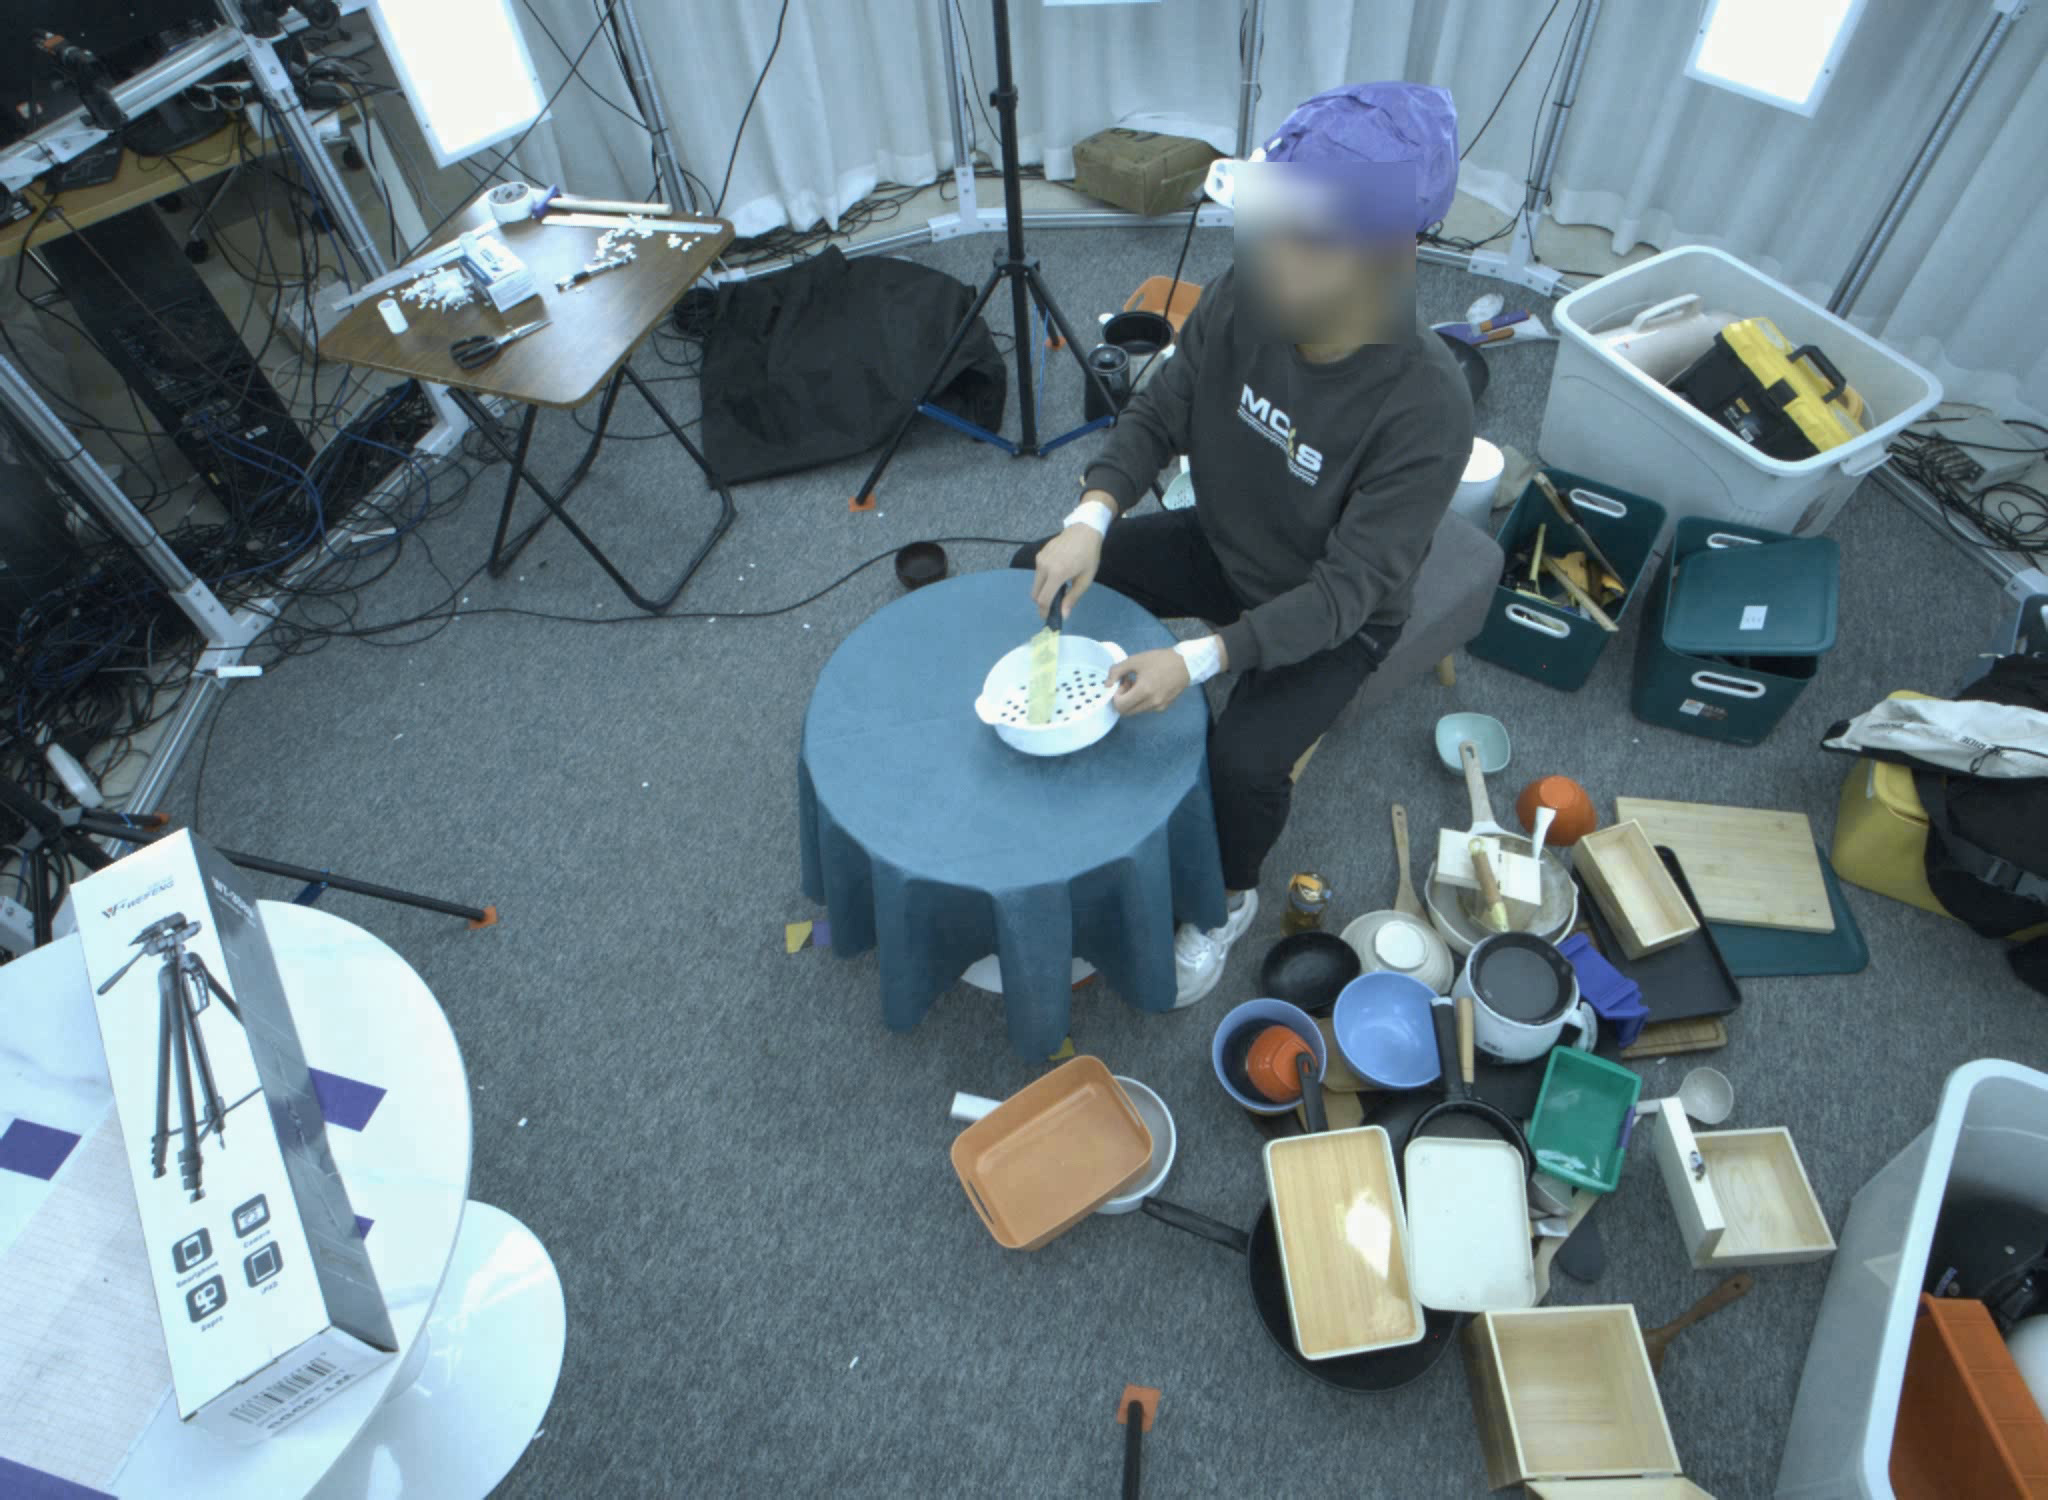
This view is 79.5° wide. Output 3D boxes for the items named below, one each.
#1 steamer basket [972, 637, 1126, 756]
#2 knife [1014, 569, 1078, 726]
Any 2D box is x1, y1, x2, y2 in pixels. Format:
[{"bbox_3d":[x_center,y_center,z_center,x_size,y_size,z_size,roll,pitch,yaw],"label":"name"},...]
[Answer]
[{"bbox_3d":[0.041,-0.076,1.787,0.232,0.070,0.198,-23,44,-10],"label":"steamer basket"},{"bbox_3d":[0.032,-0.144,1.797,0.079,0.028,0.288,-7,56,36],"label":"knife"}]
